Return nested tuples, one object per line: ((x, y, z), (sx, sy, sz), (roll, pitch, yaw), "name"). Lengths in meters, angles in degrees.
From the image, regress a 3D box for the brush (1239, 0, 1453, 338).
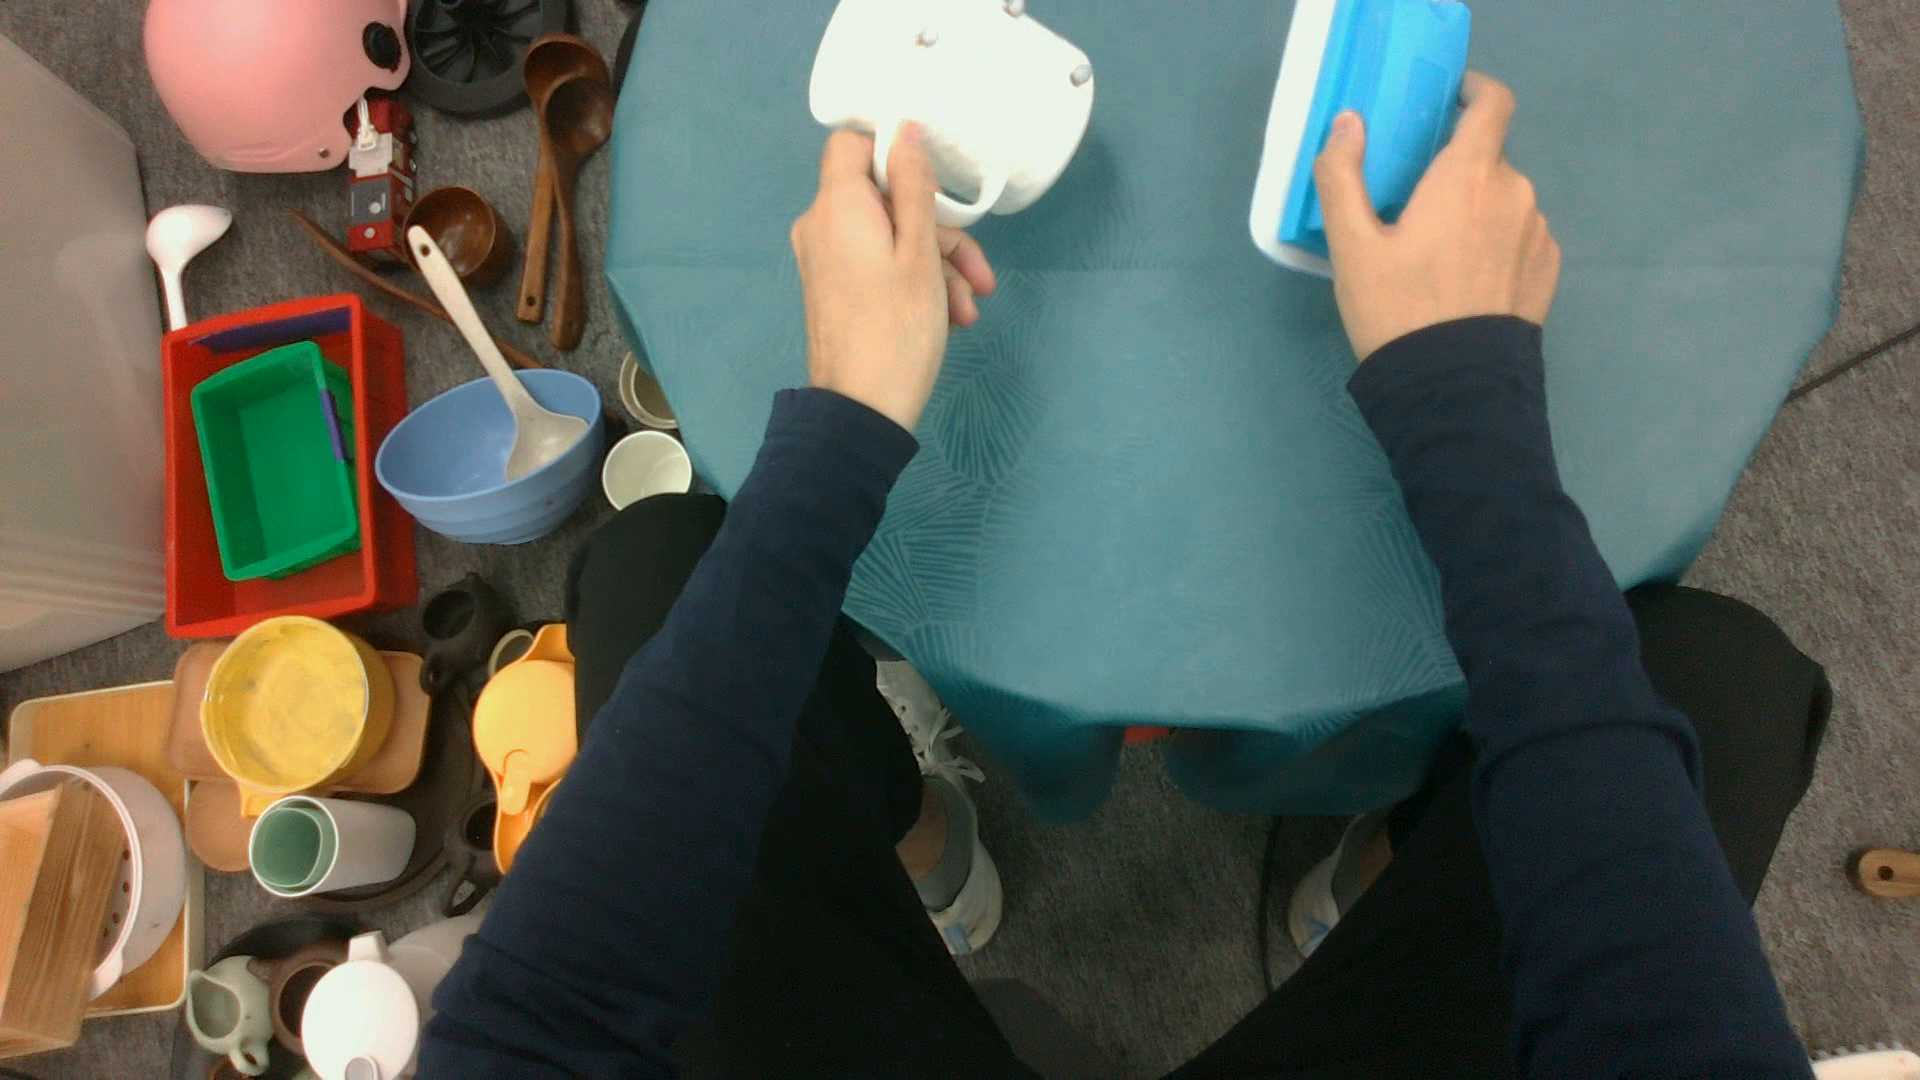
((0.175, -0.164, 0.595), (0.084, 0.056, 0.144), (15, 87, -27), "brush")

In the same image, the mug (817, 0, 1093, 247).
((-0.002, -0.185, 0.631), (0.102, 0.084, 0.119), (22, 55, -29), "mug")
